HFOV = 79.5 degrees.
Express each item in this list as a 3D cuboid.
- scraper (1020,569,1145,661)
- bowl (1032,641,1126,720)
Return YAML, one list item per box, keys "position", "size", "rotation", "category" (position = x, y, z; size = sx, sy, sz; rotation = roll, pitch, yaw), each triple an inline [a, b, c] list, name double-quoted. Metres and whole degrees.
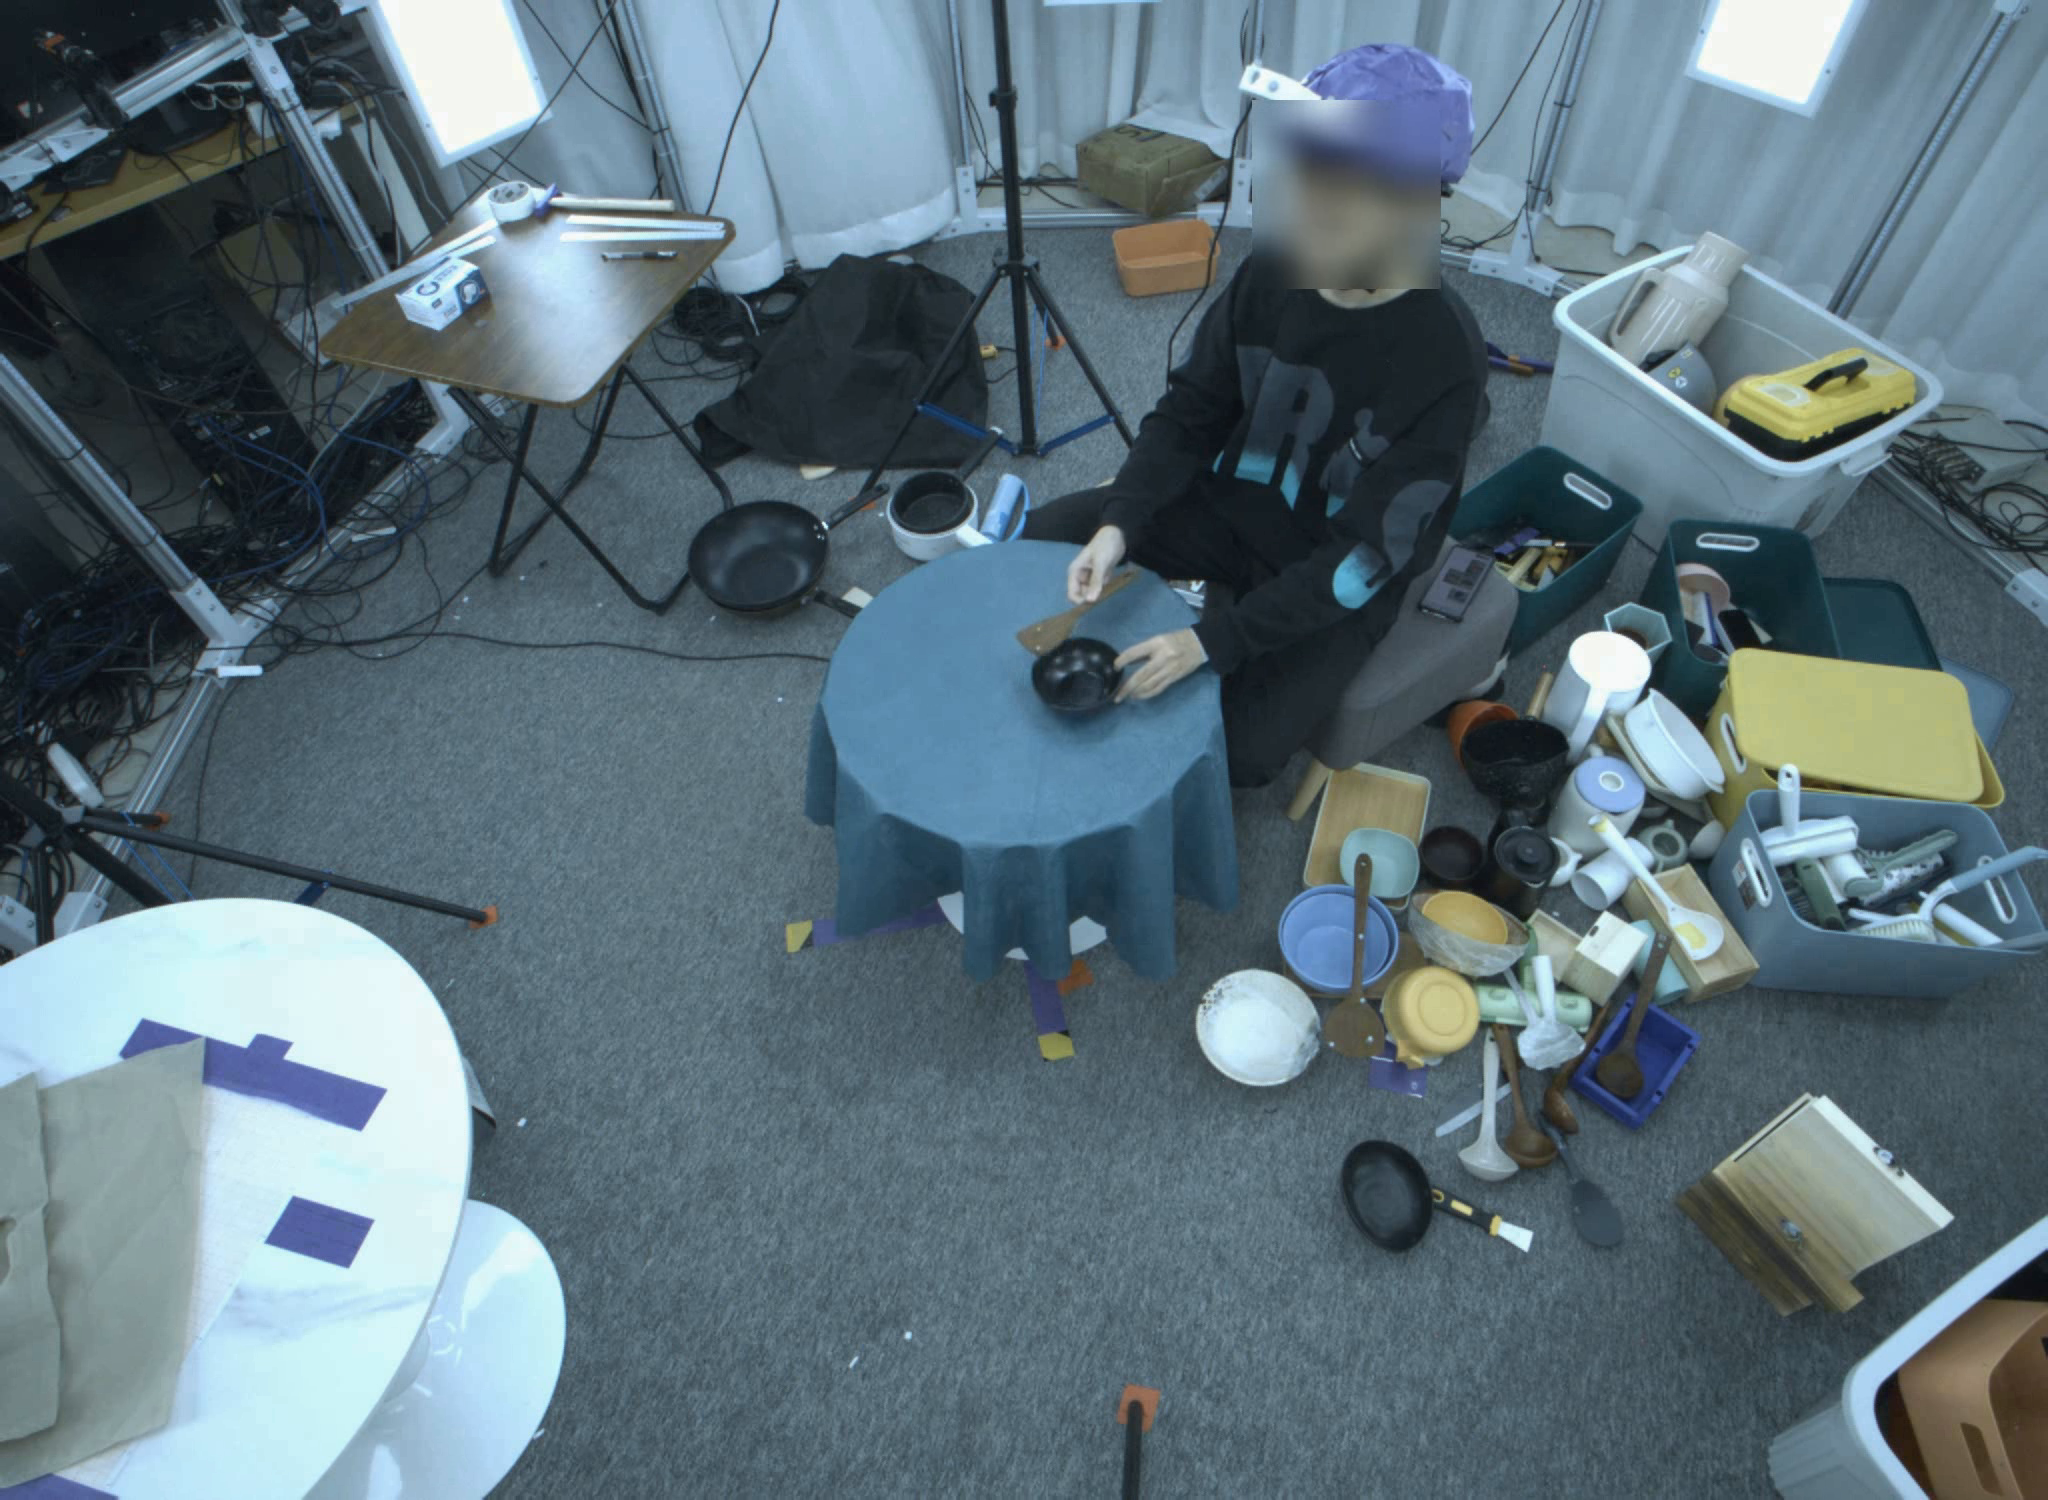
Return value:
- position: [0.091, -0.205, 1.827]
  size: [0.212, 0.011, 0.074]
  rotation: [-37, 48, -8]
  category: "scraper"
- position: [0.084, -0.094, 1.827]
  size: [0.139, 0.050, 0.138]
  rotation: [-4, 54, 7]
  category: "bowl"
